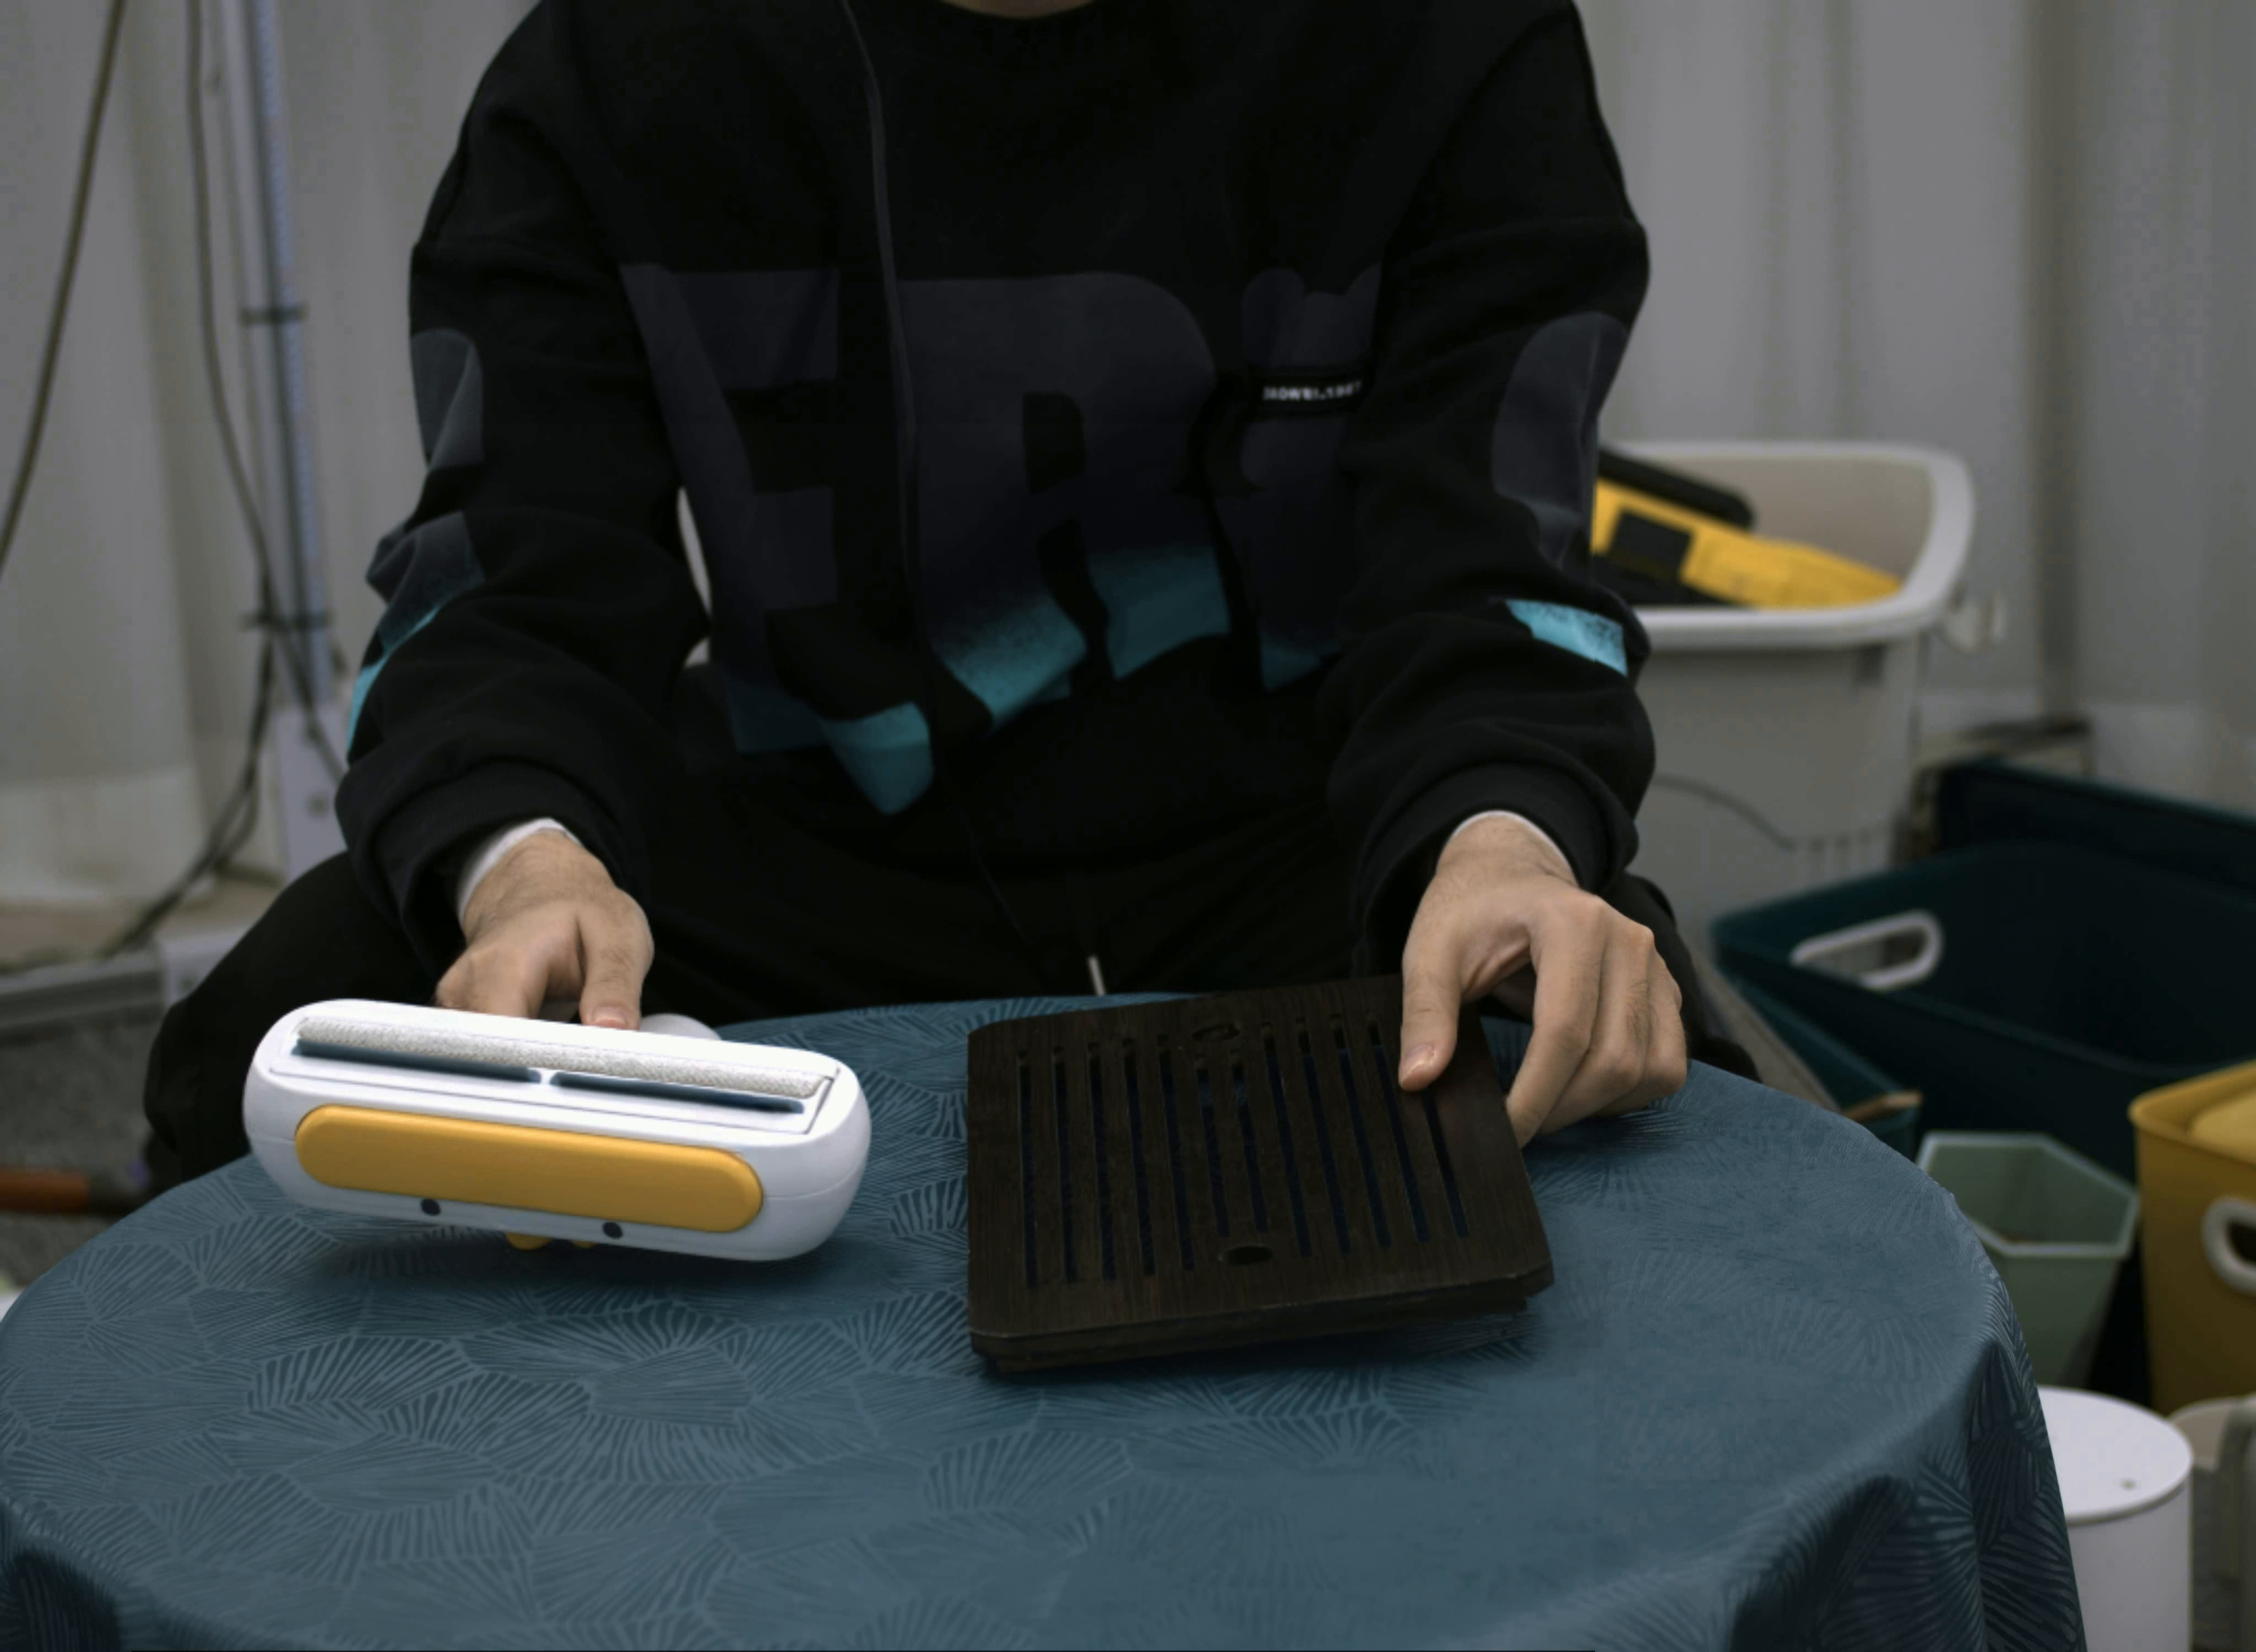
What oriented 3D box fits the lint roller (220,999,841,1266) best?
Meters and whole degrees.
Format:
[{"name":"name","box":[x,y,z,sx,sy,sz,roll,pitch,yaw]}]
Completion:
[{"name":"lint roller","box":[-0.167,0.082,1.727,0.193,0.074,0.193,2,18,15]}]

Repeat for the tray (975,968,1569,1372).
[{"name":"tray","box":[0.038,0.104,1.695,0.169,0.018,0.308,-7,15,0]}]
